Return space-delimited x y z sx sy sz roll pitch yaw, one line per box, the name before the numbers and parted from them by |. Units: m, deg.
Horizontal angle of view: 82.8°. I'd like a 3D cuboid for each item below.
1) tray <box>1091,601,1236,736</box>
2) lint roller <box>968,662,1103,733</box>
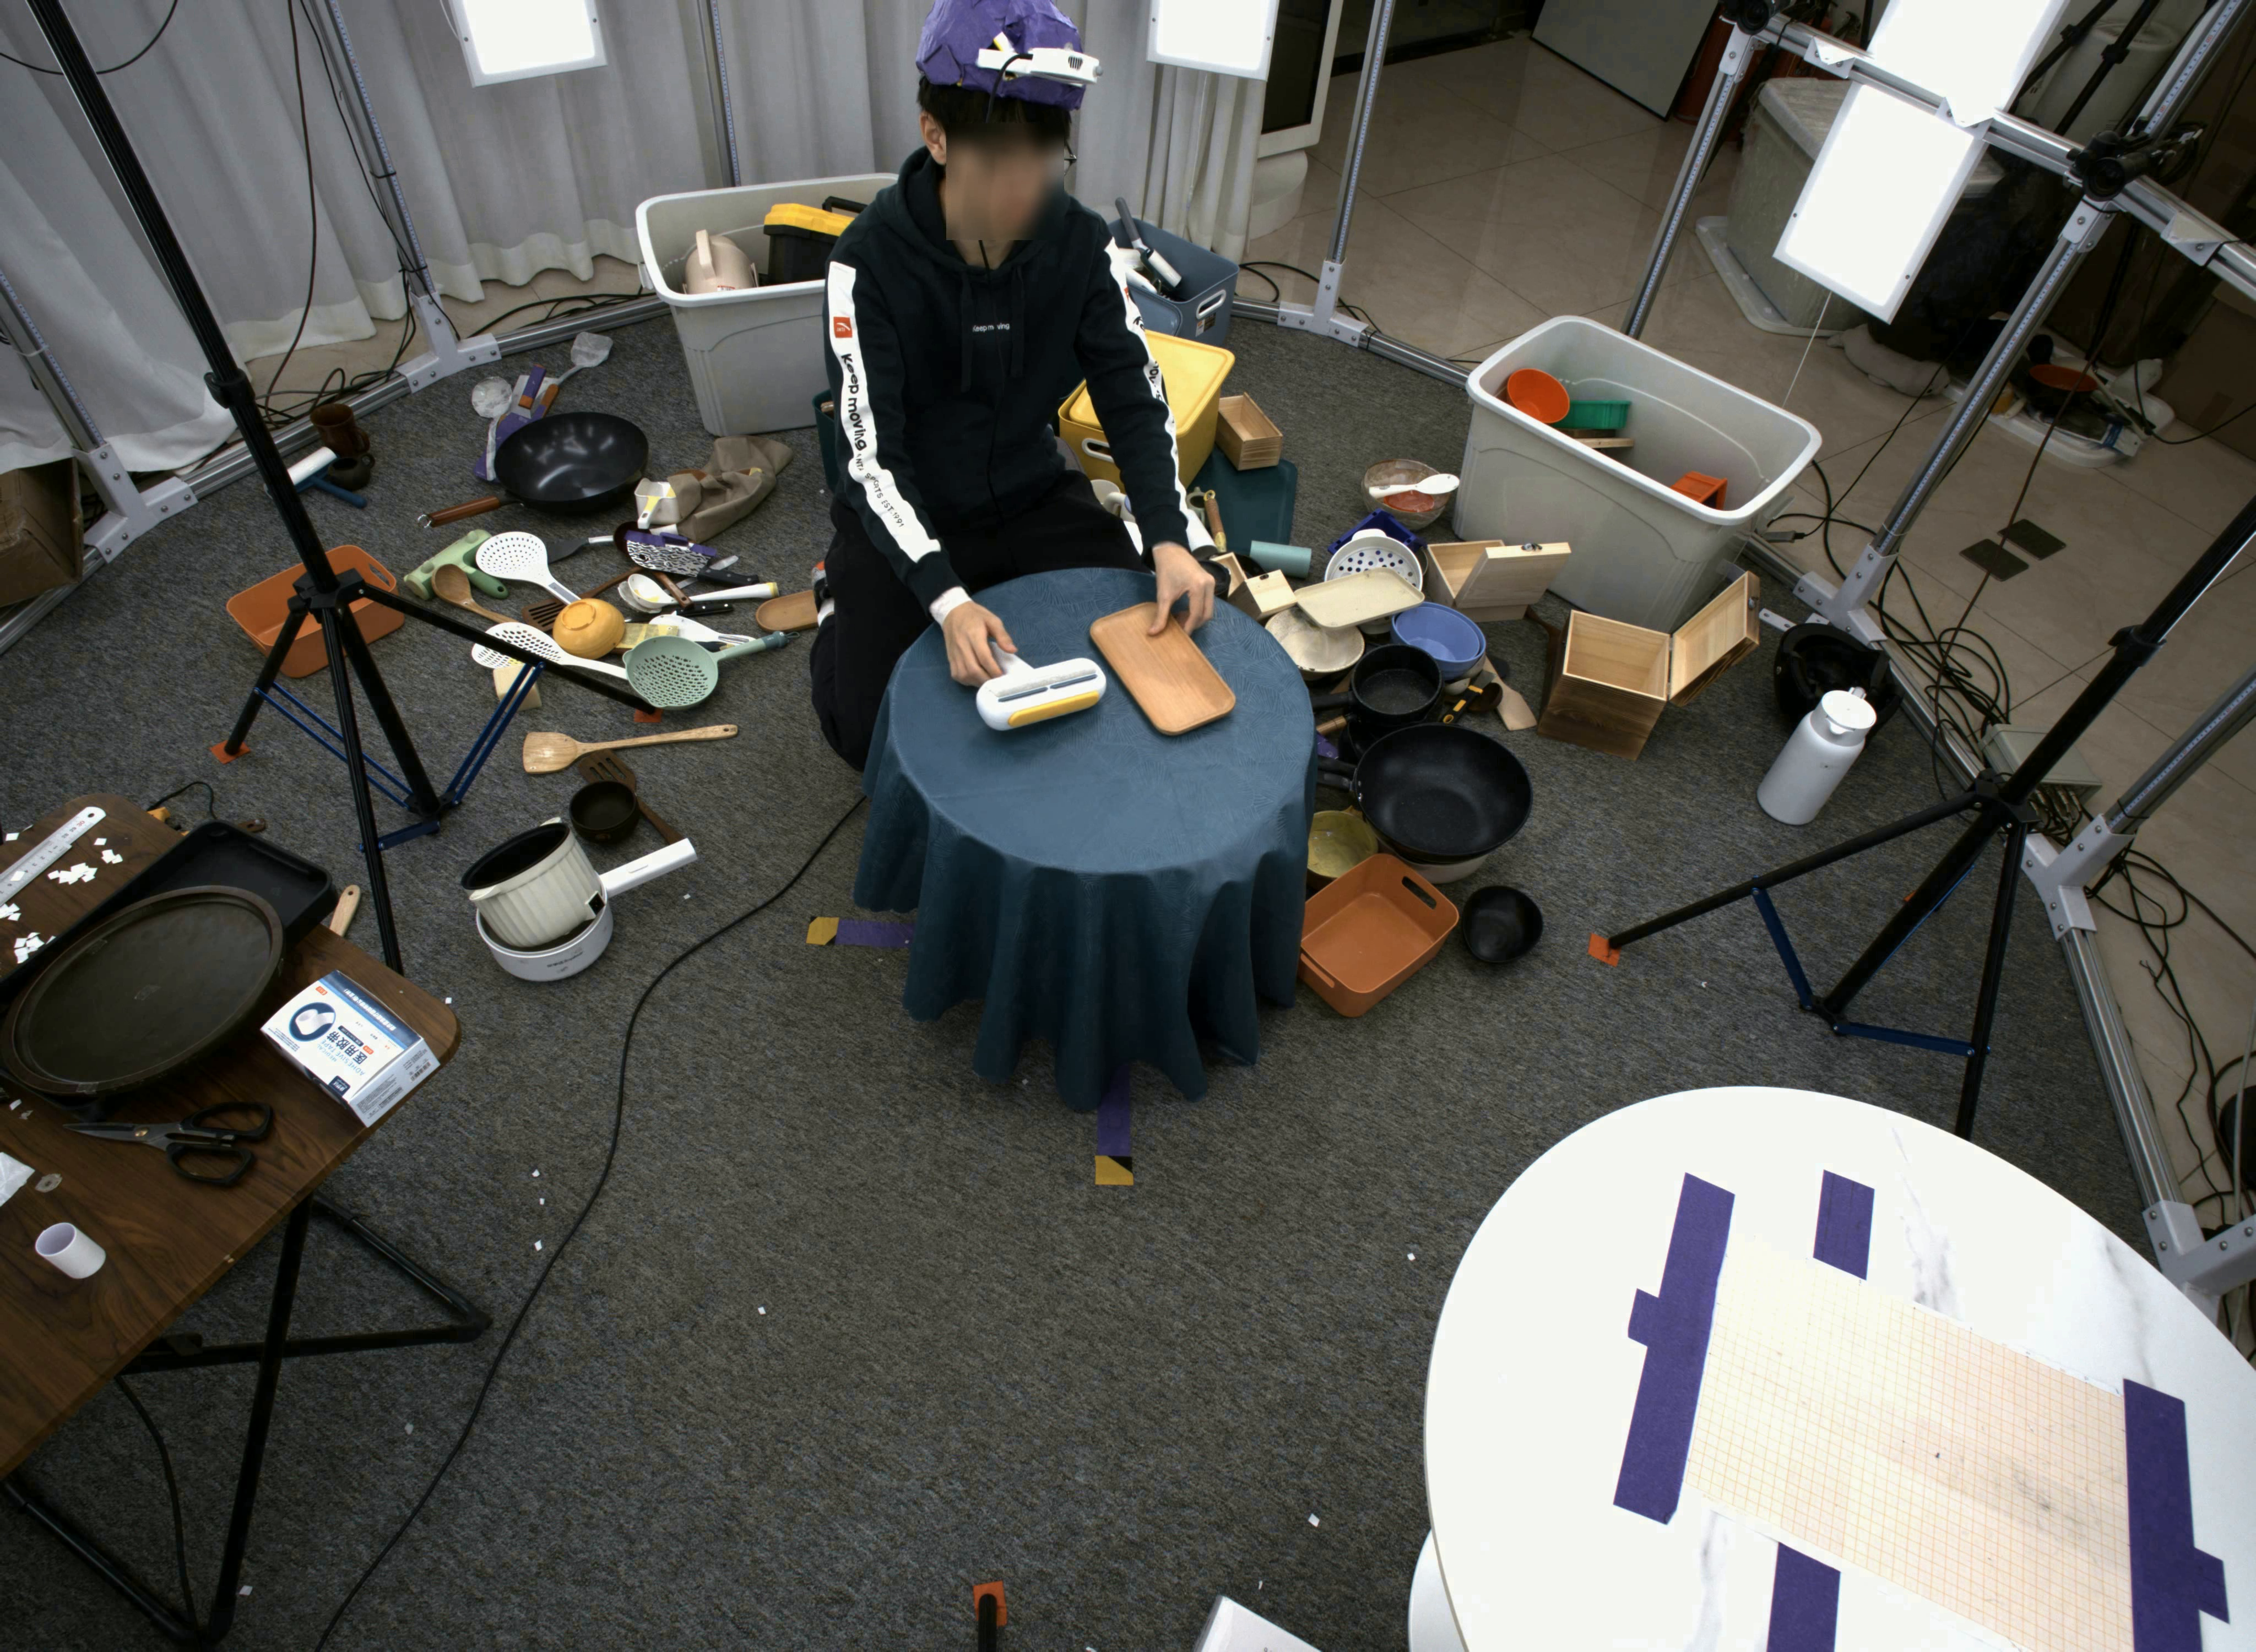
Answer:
tray | 0.048 -0.230 1.855 0.131 0.022 0.256 -20 53 -17
lint roller | -0.154 -0.199 1.810 0.193 0.072 0.196 -15 37 -25
